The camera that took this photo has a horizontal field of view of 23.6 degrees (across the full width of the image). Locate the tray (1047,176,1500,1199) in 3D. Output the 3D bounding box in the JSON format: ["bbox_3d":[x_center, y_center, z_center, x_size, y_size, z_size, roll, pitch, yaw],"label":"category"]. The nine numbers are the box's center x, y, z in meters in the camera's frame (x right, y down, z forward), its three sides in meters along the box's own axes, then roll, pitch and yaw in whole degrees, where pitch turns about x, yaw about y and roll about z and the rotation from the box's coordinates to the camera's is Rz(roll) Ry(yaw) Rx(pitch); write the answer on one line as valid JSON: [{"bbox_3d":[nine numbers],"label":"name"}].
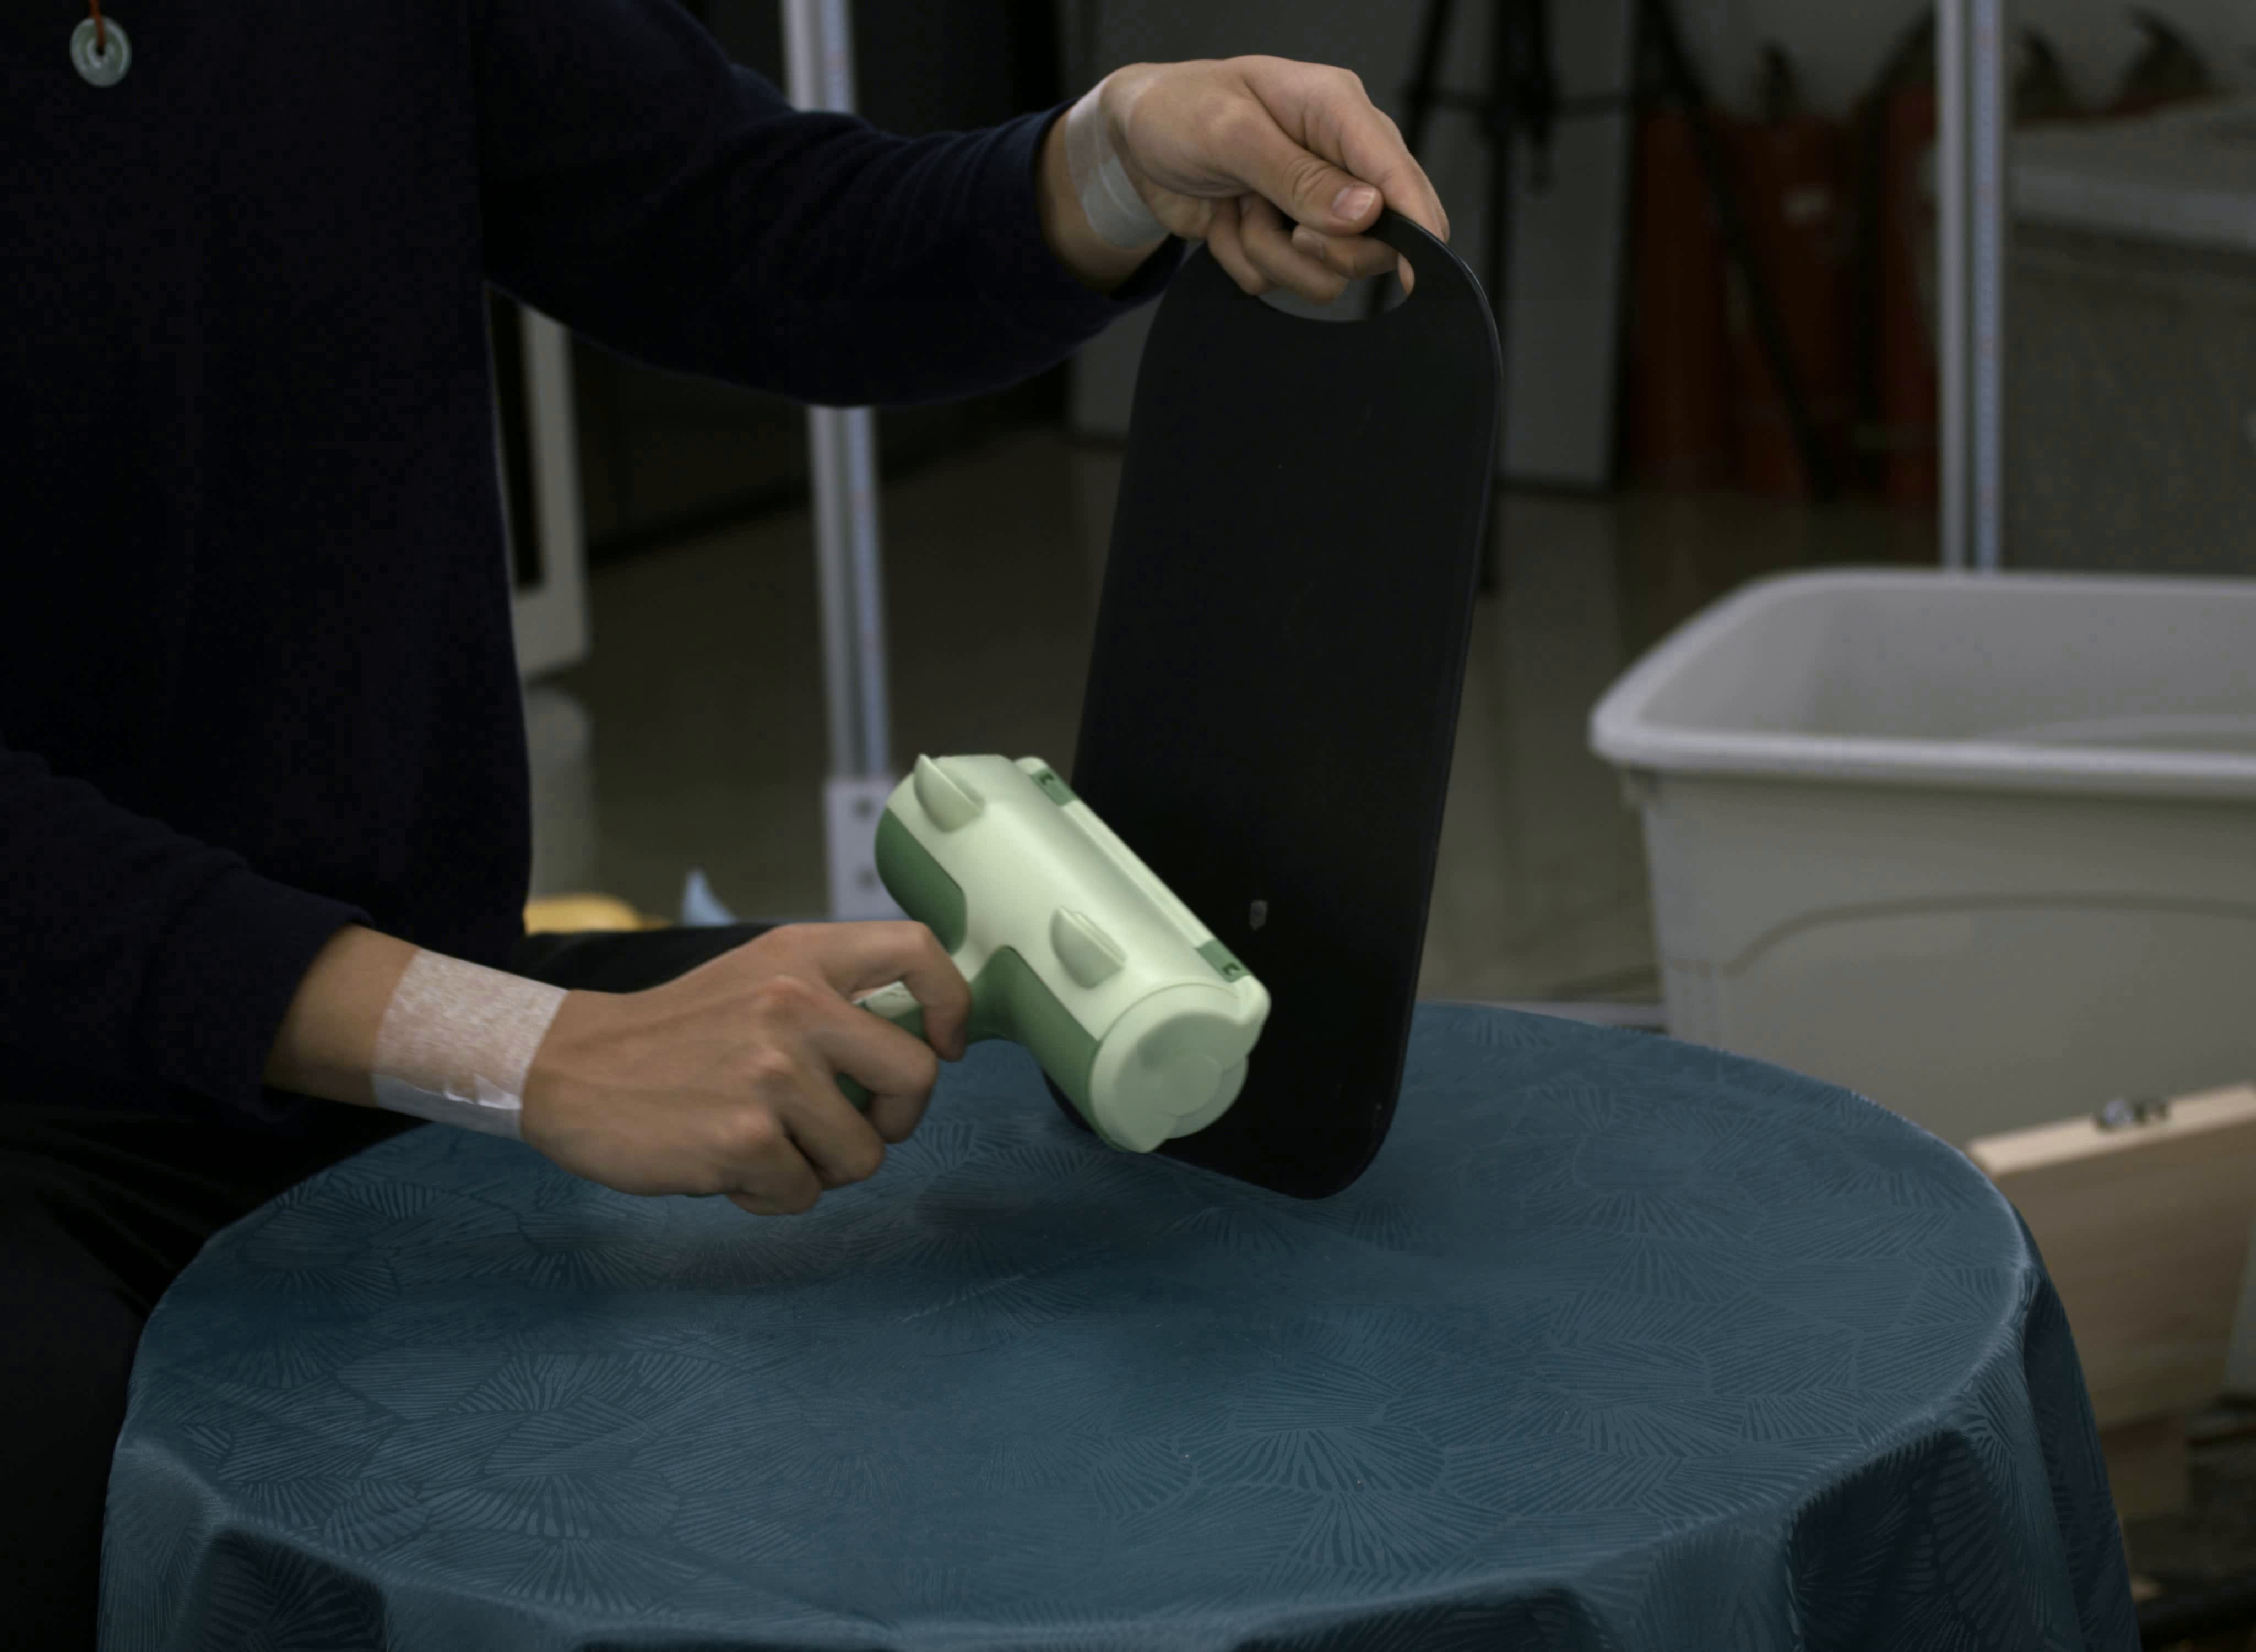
[{"bbox_3d":[0.046,-0.049,1.777,0.009,0.329,0.213,6,3,-34],"label":"tray"}]

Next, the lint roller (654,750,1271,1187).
[{"bbox_3d":[-0.073,0.049,1.713,0.180,0.082,0.201,-21,30,-16],"label":"lint roller"}]
